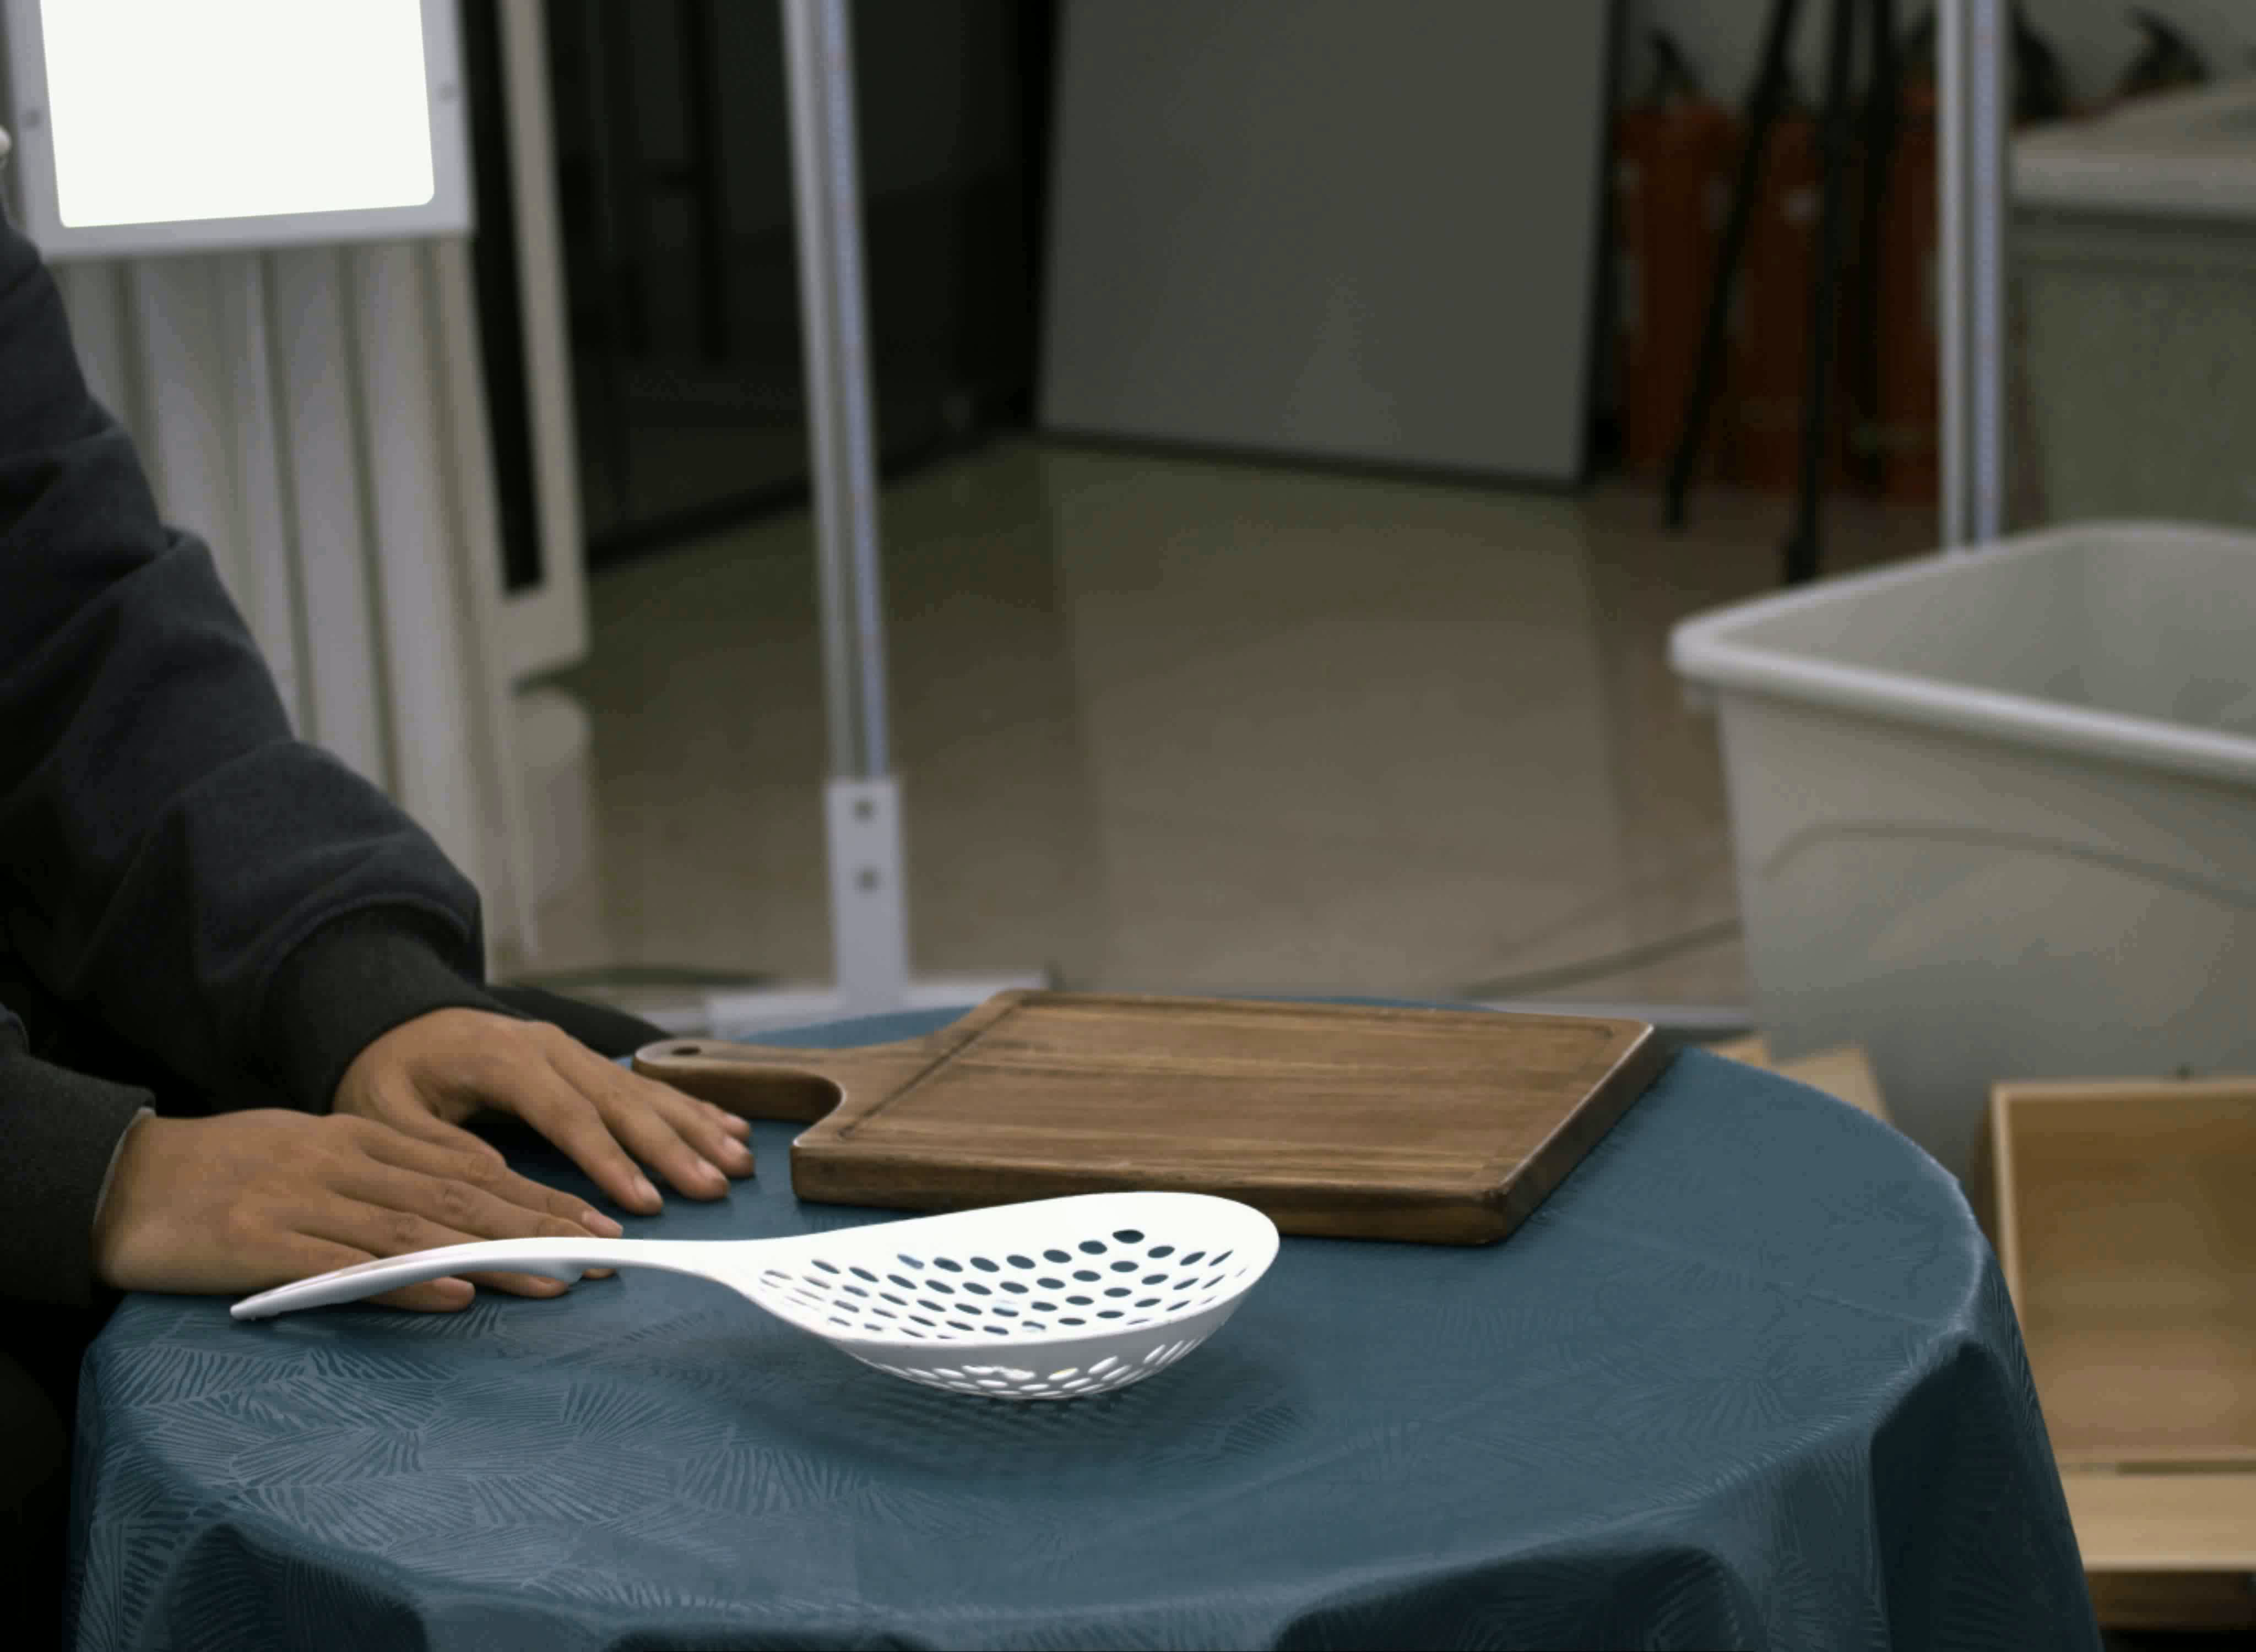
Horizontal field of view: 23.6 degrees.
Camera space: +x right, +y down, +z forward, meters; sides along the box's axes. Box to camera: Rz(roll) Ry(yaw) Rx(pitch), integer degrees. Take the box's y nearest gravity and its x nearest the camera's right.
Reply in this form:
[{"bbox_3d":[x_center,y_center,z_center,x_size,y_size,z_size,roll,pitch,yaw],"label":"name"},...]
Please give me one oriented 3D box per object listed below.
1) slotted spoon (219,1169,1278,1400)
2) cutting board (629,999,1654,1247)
[{"bbox_3d":[-0.121,0.142,1.632,0.348,0.051,0.135,2,17,23],"label":"slotted spoon"},{"bbox_3d":[-0.010,0.095,1.835,0.352,0.023,0.199,2,14,22],"label":"cutting board"}]
